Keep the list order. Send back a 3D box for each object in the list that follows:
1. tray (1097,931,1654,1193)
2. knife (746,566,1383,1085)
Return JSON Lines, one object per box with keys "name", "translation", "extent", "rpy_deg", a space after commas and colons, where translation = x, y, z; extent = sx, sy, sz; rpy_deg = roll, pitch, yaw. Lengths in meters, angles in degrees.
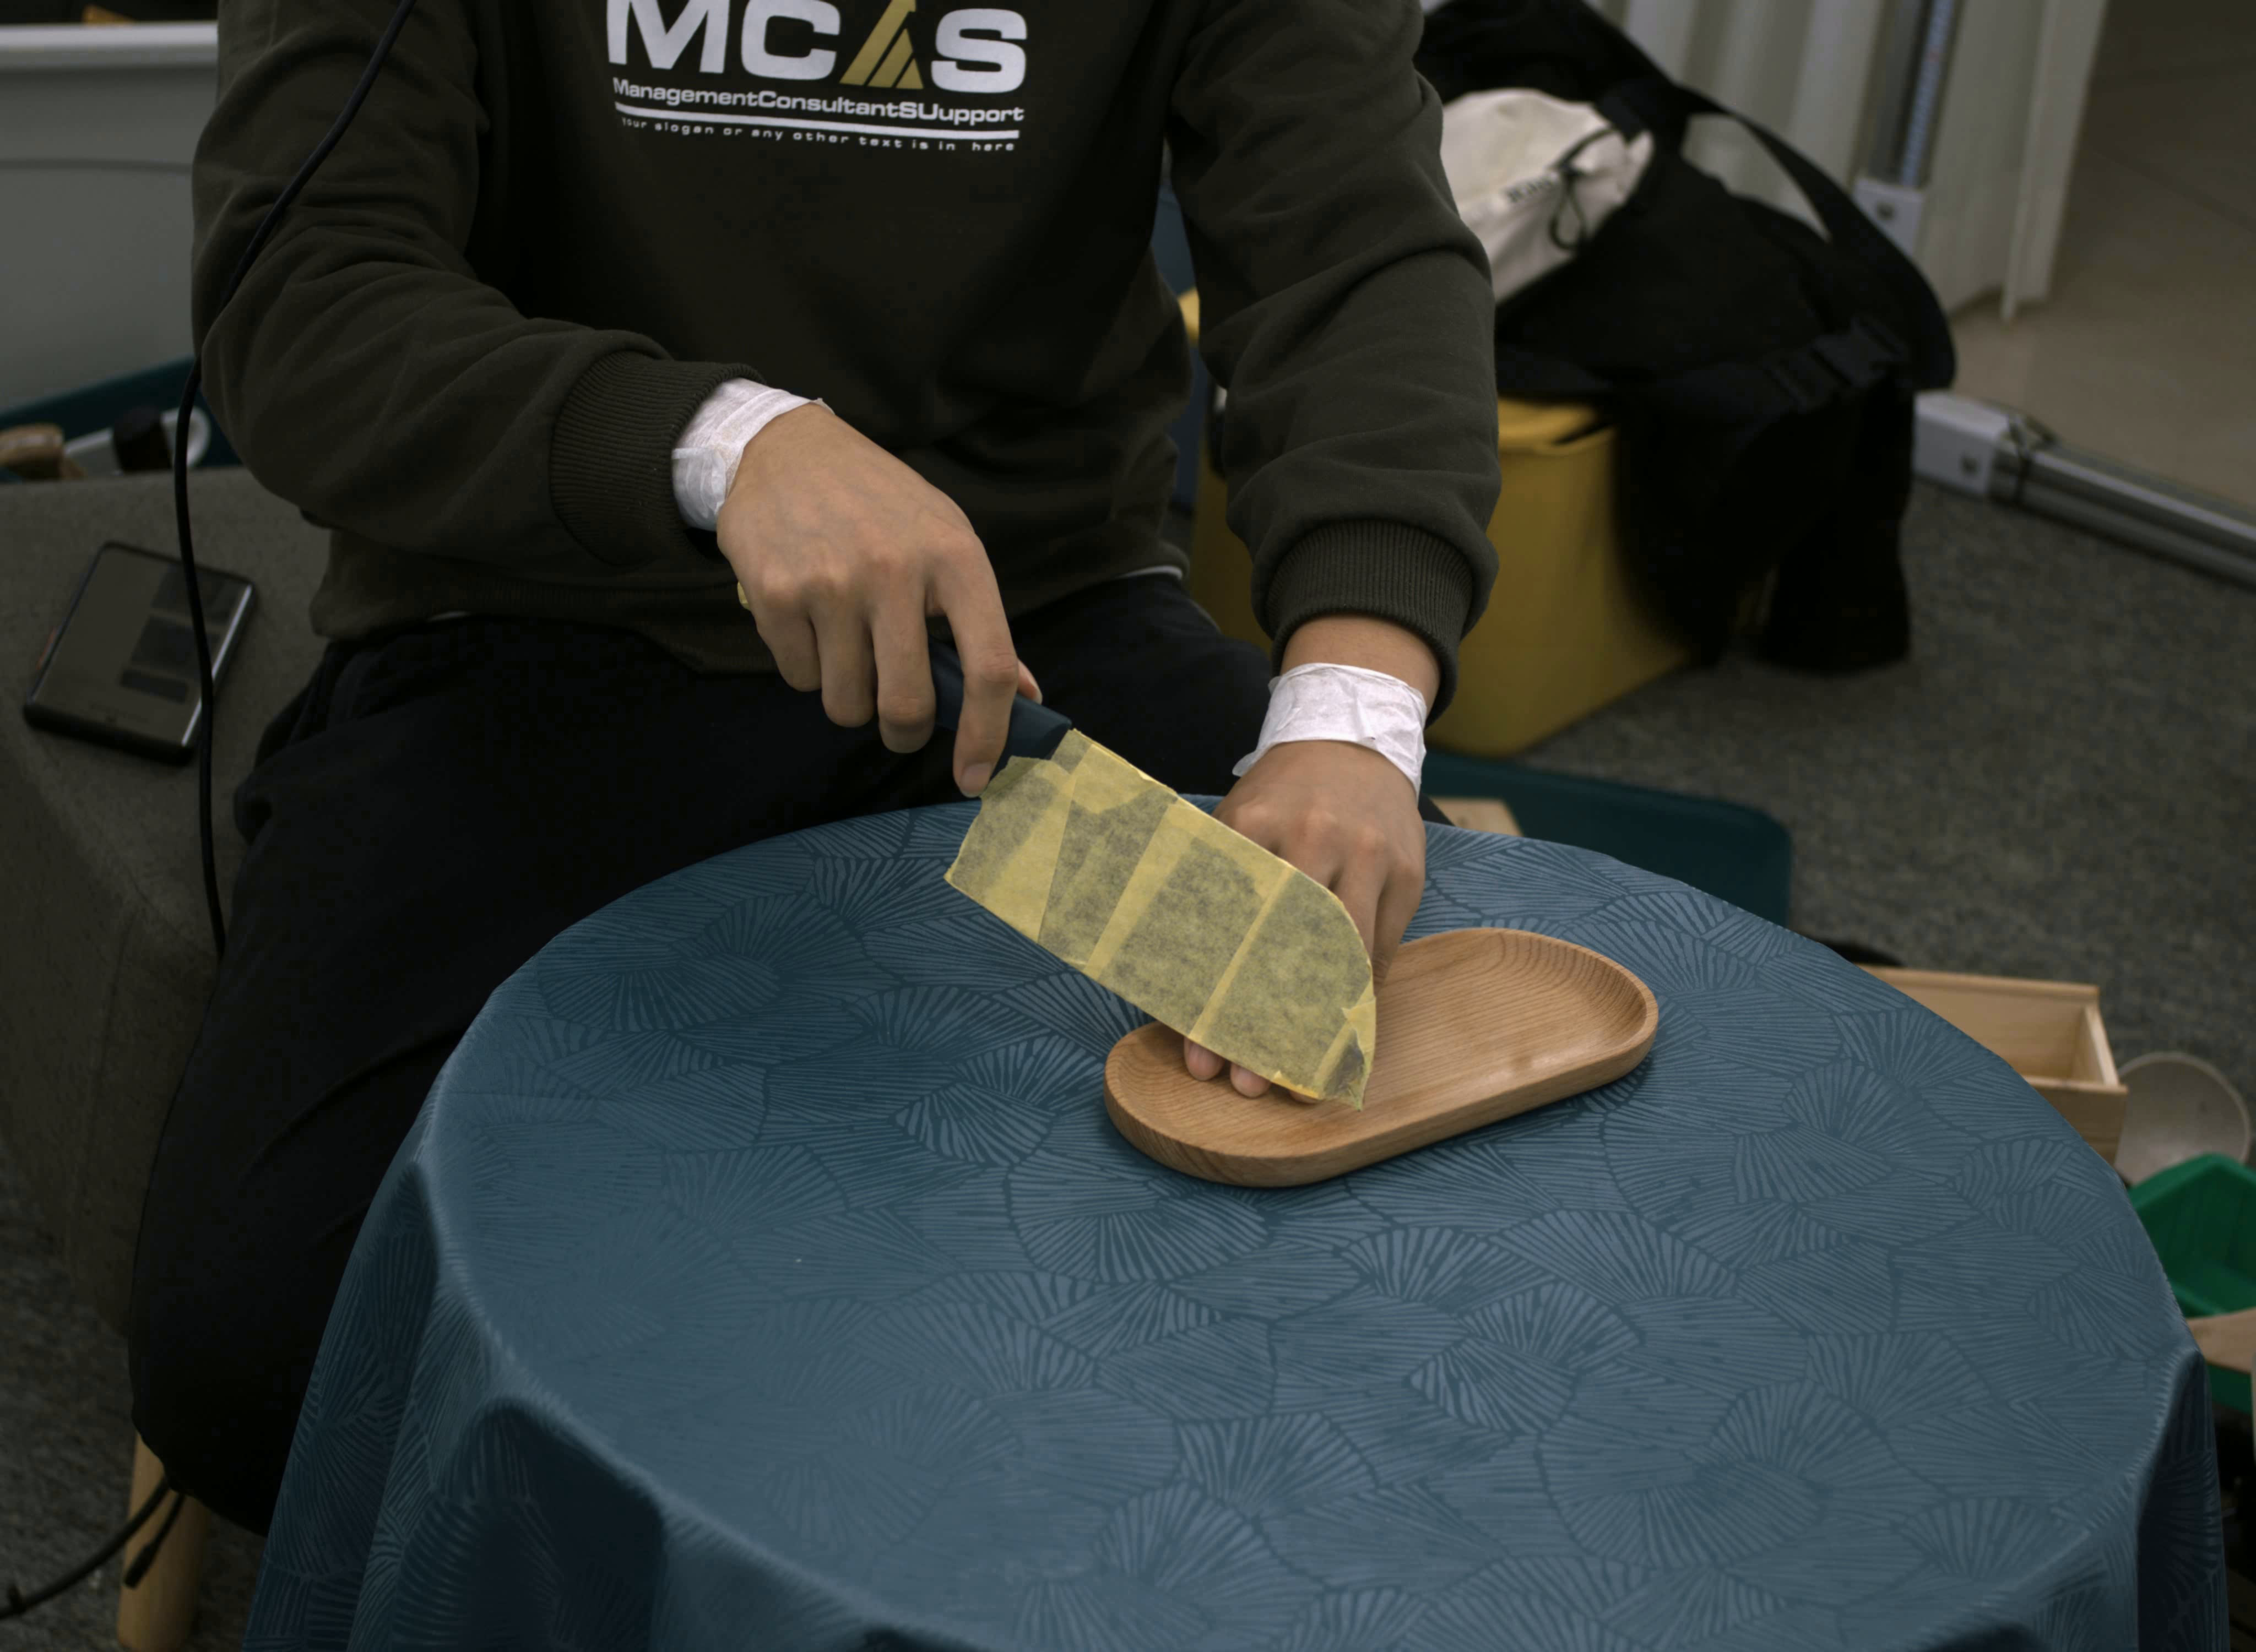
{"name": "tray", "translation": [0.089, 0.083, 1.889], "extent": [0.230, 0.020, 0.102], "rpy_deg": [-17, 34, -36]}
{"name": "knife", "translation": [-0.027, 0.000, 1.878], "extent": [0.291, 0.081, 0.027], "rpy_deg": [36, 11, 17]}
